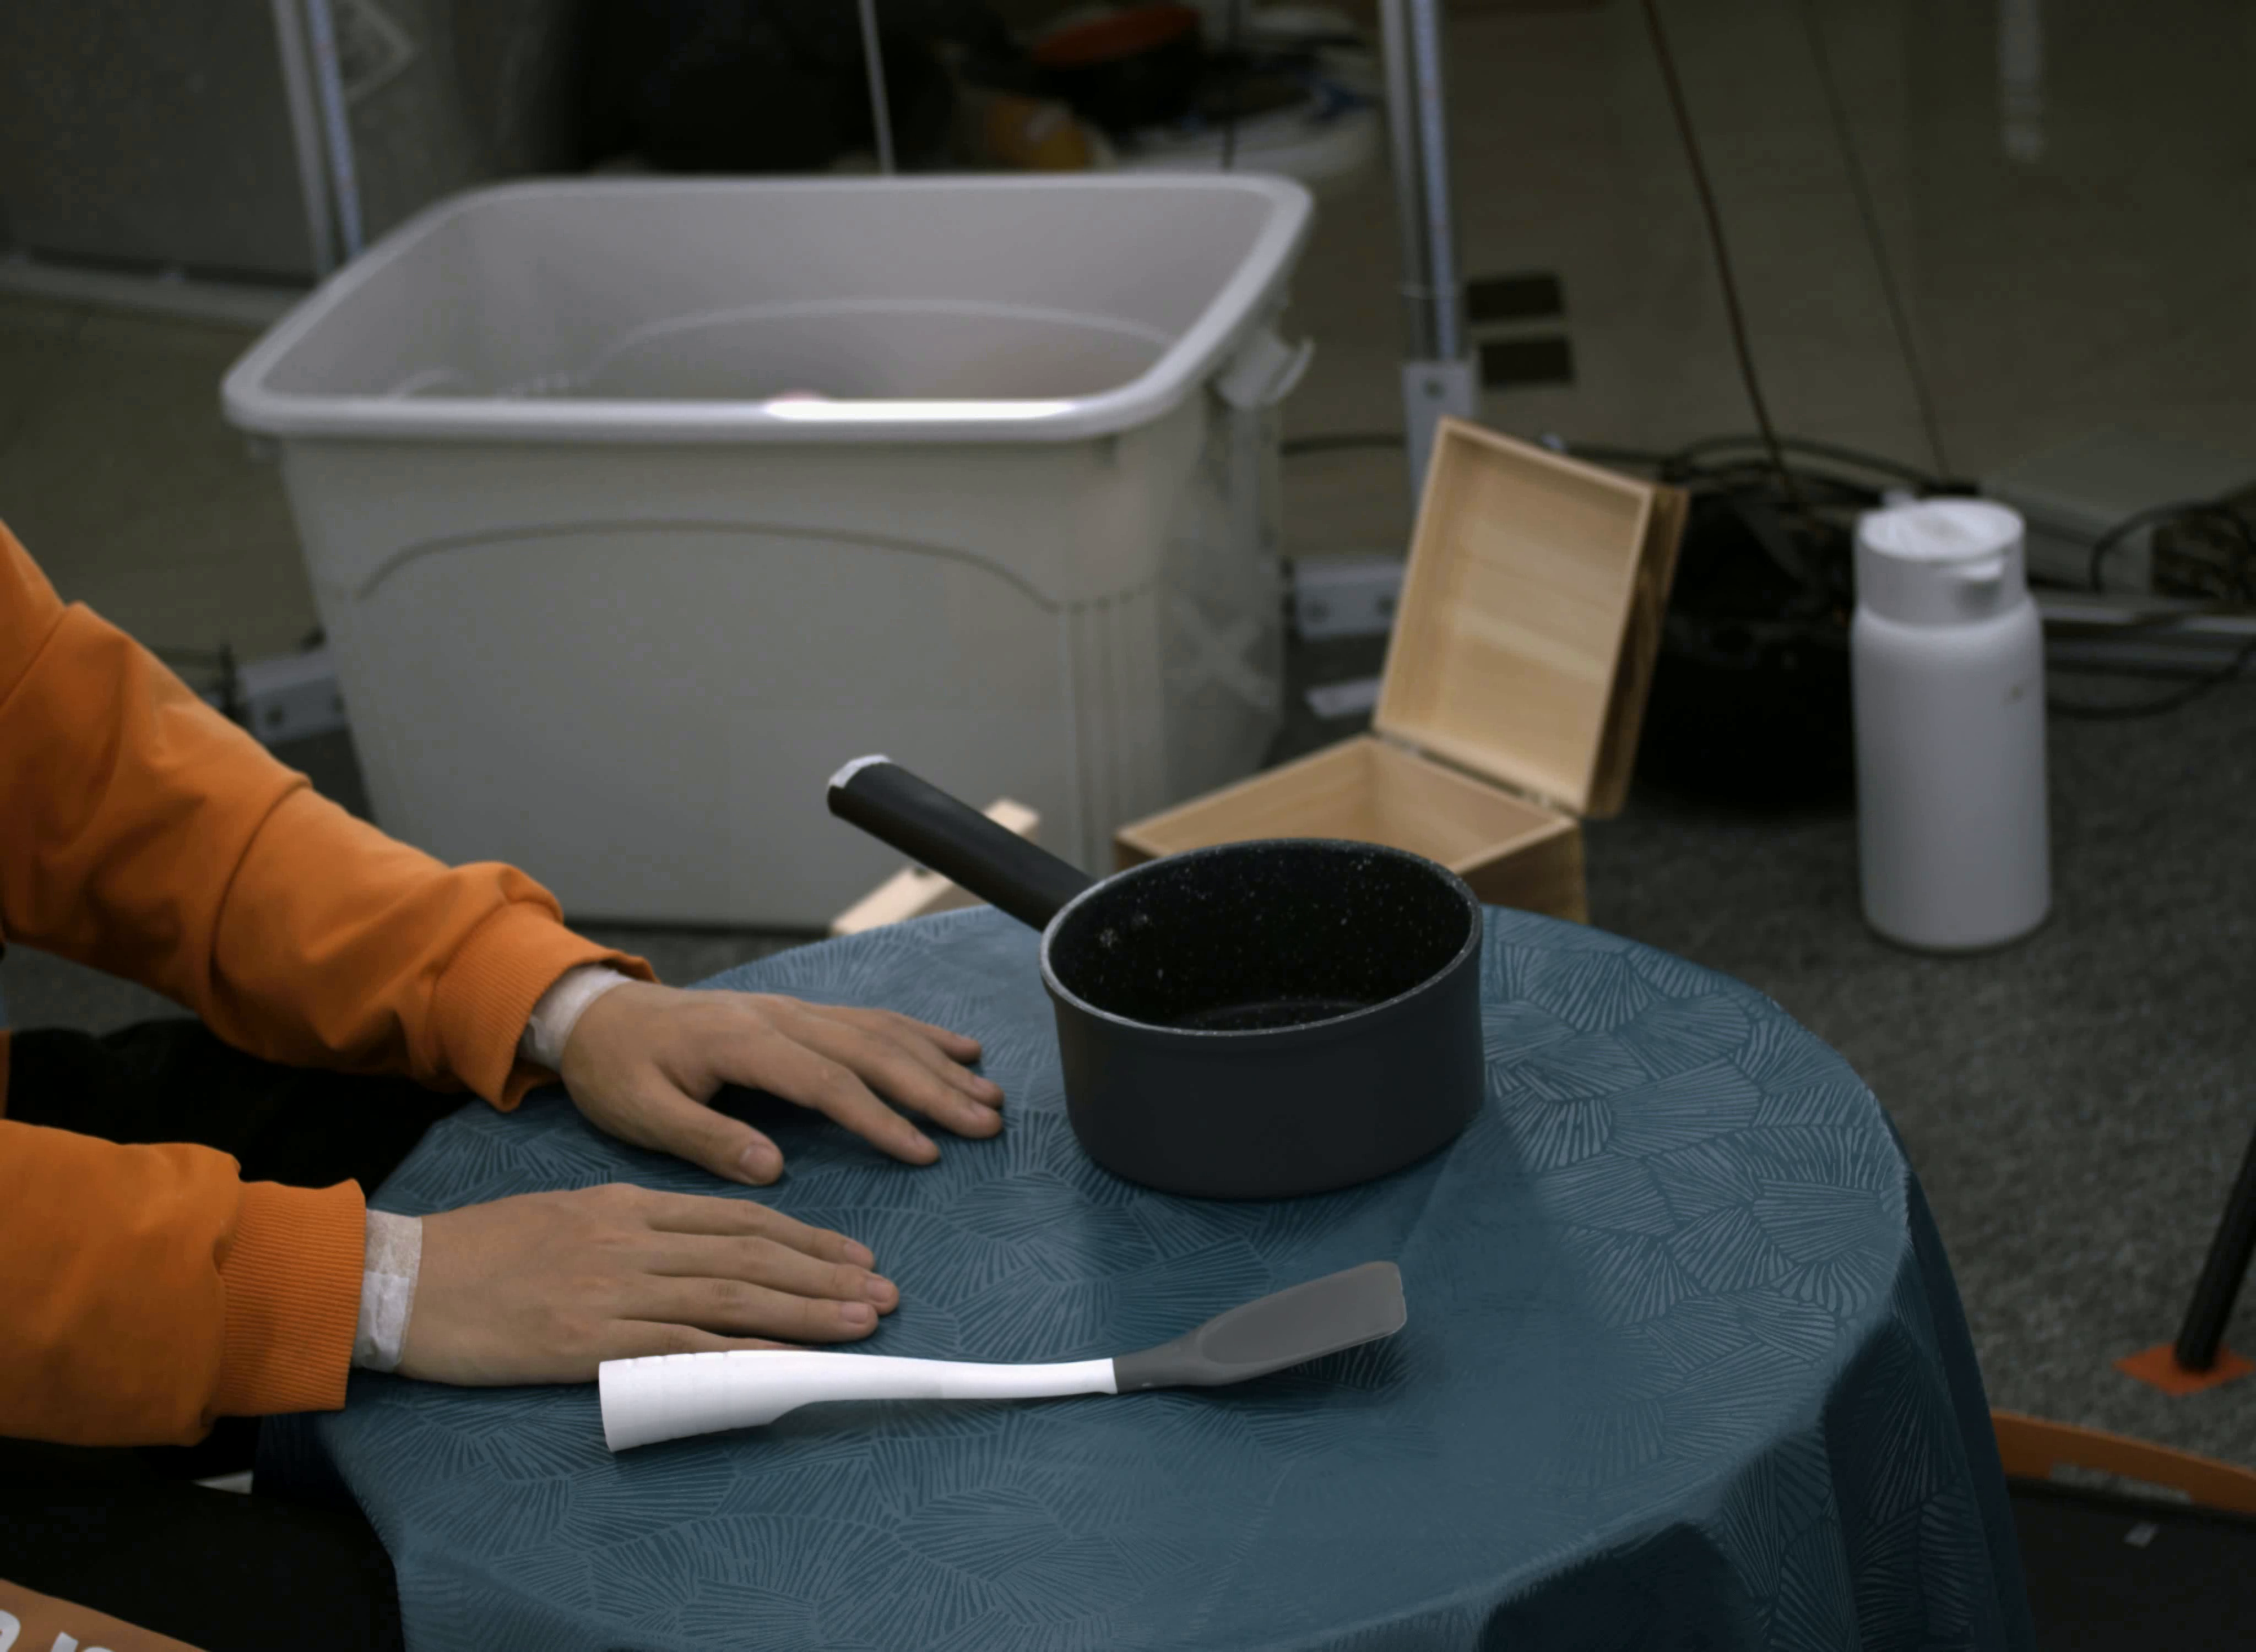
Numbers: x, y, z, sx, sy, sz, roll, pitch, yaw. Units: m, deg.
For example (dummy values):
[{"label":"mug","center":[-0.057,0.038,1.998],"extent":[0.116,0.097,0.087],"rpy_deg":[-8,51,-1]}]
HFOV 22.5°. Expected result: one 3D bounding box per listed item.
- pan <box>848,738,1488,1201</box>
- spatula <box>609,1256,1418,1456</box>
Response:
[{"label":"pan","center":[0.002,0.050,2.234],"extent":[0.171,0.088,0.326],"rpy_deg":[-24,32,-34]},{"label":"spatula","center":[-0.040,0.190,2.011],"extent":[0.287,0.032,0.058],"rpy_deg":[-7,21,0]}]
